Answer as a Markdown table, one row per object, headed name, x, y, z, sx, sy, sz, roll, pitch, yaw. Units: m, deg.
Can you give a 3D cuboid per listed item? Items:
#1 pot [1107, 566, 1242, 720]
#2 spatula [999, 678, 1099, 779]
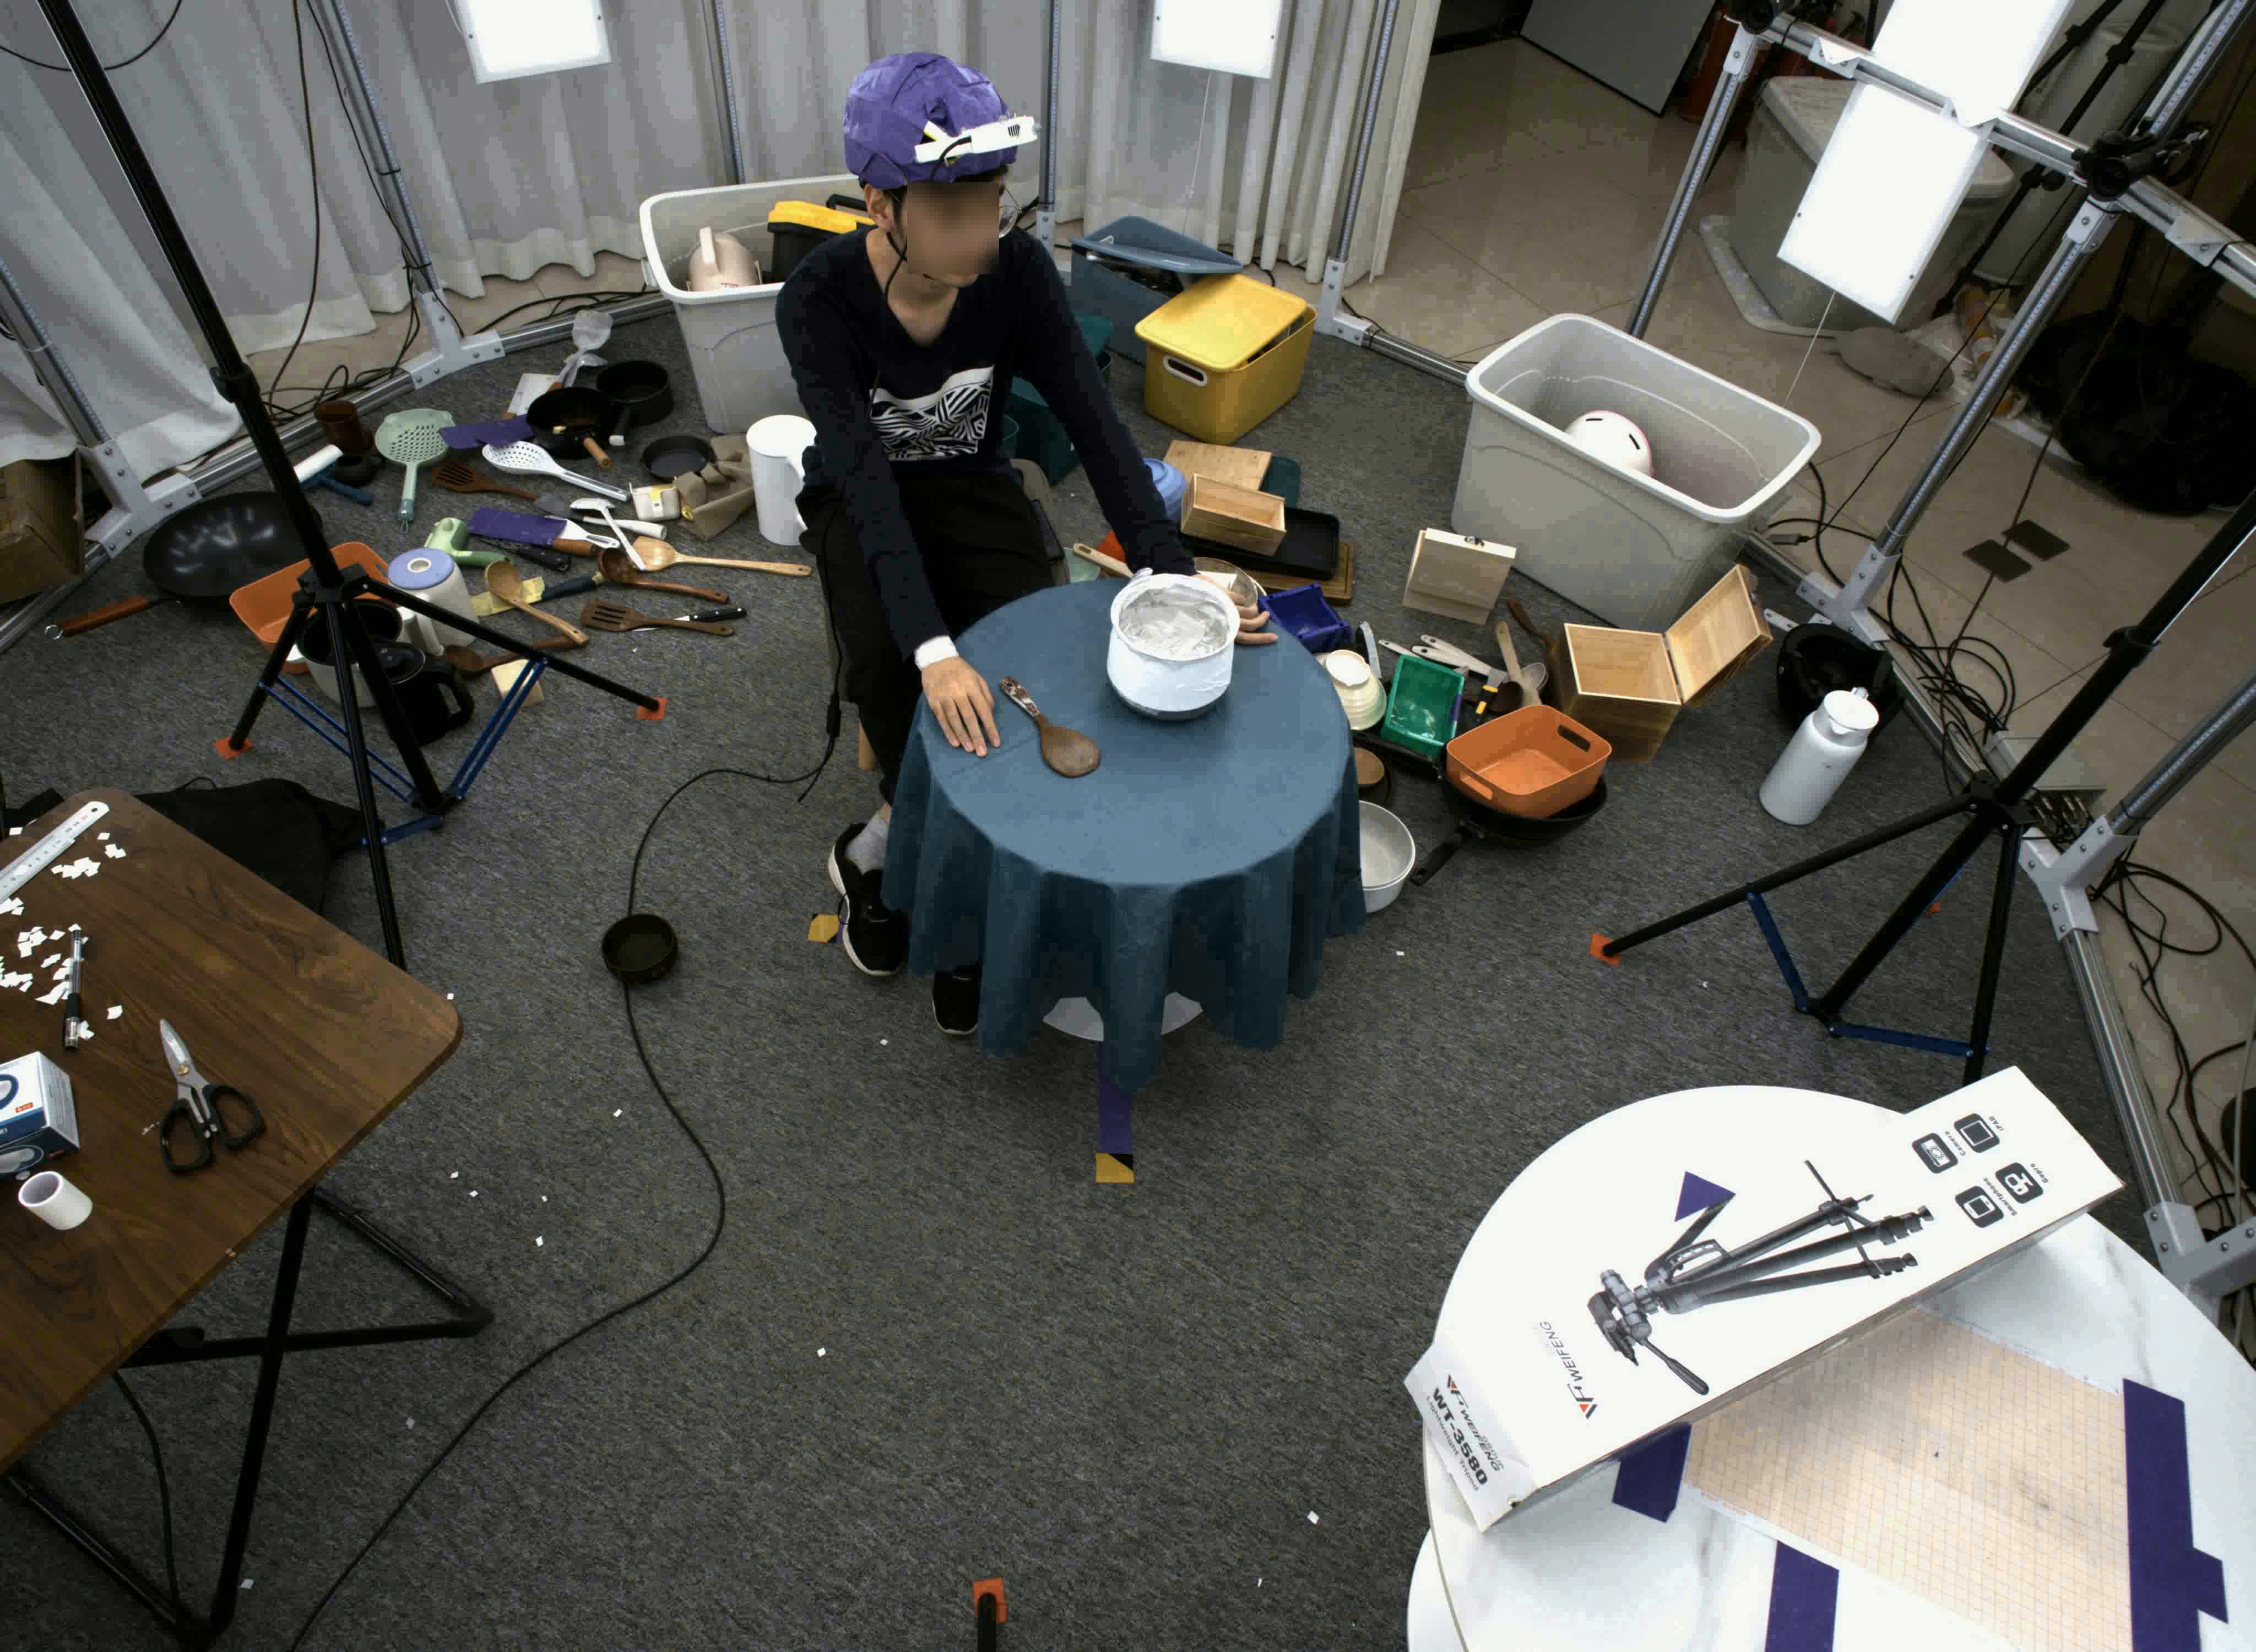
| name | x | y | z | sx | sy | sz | roll | pitch | yaw |
| --- | --- | --- | --- | --- | --- | --- | --- | --- | --- |
| pot | 0.050 | -0.267 | 1.812 | 0.179 | 0.133 | 0.239 | -15 | 53 | -20 |
| spatula | -0.116 | -0.142 | 1.778 | 0.072 | 0.009 | 0.220 | -24 | 54 | -25 |
